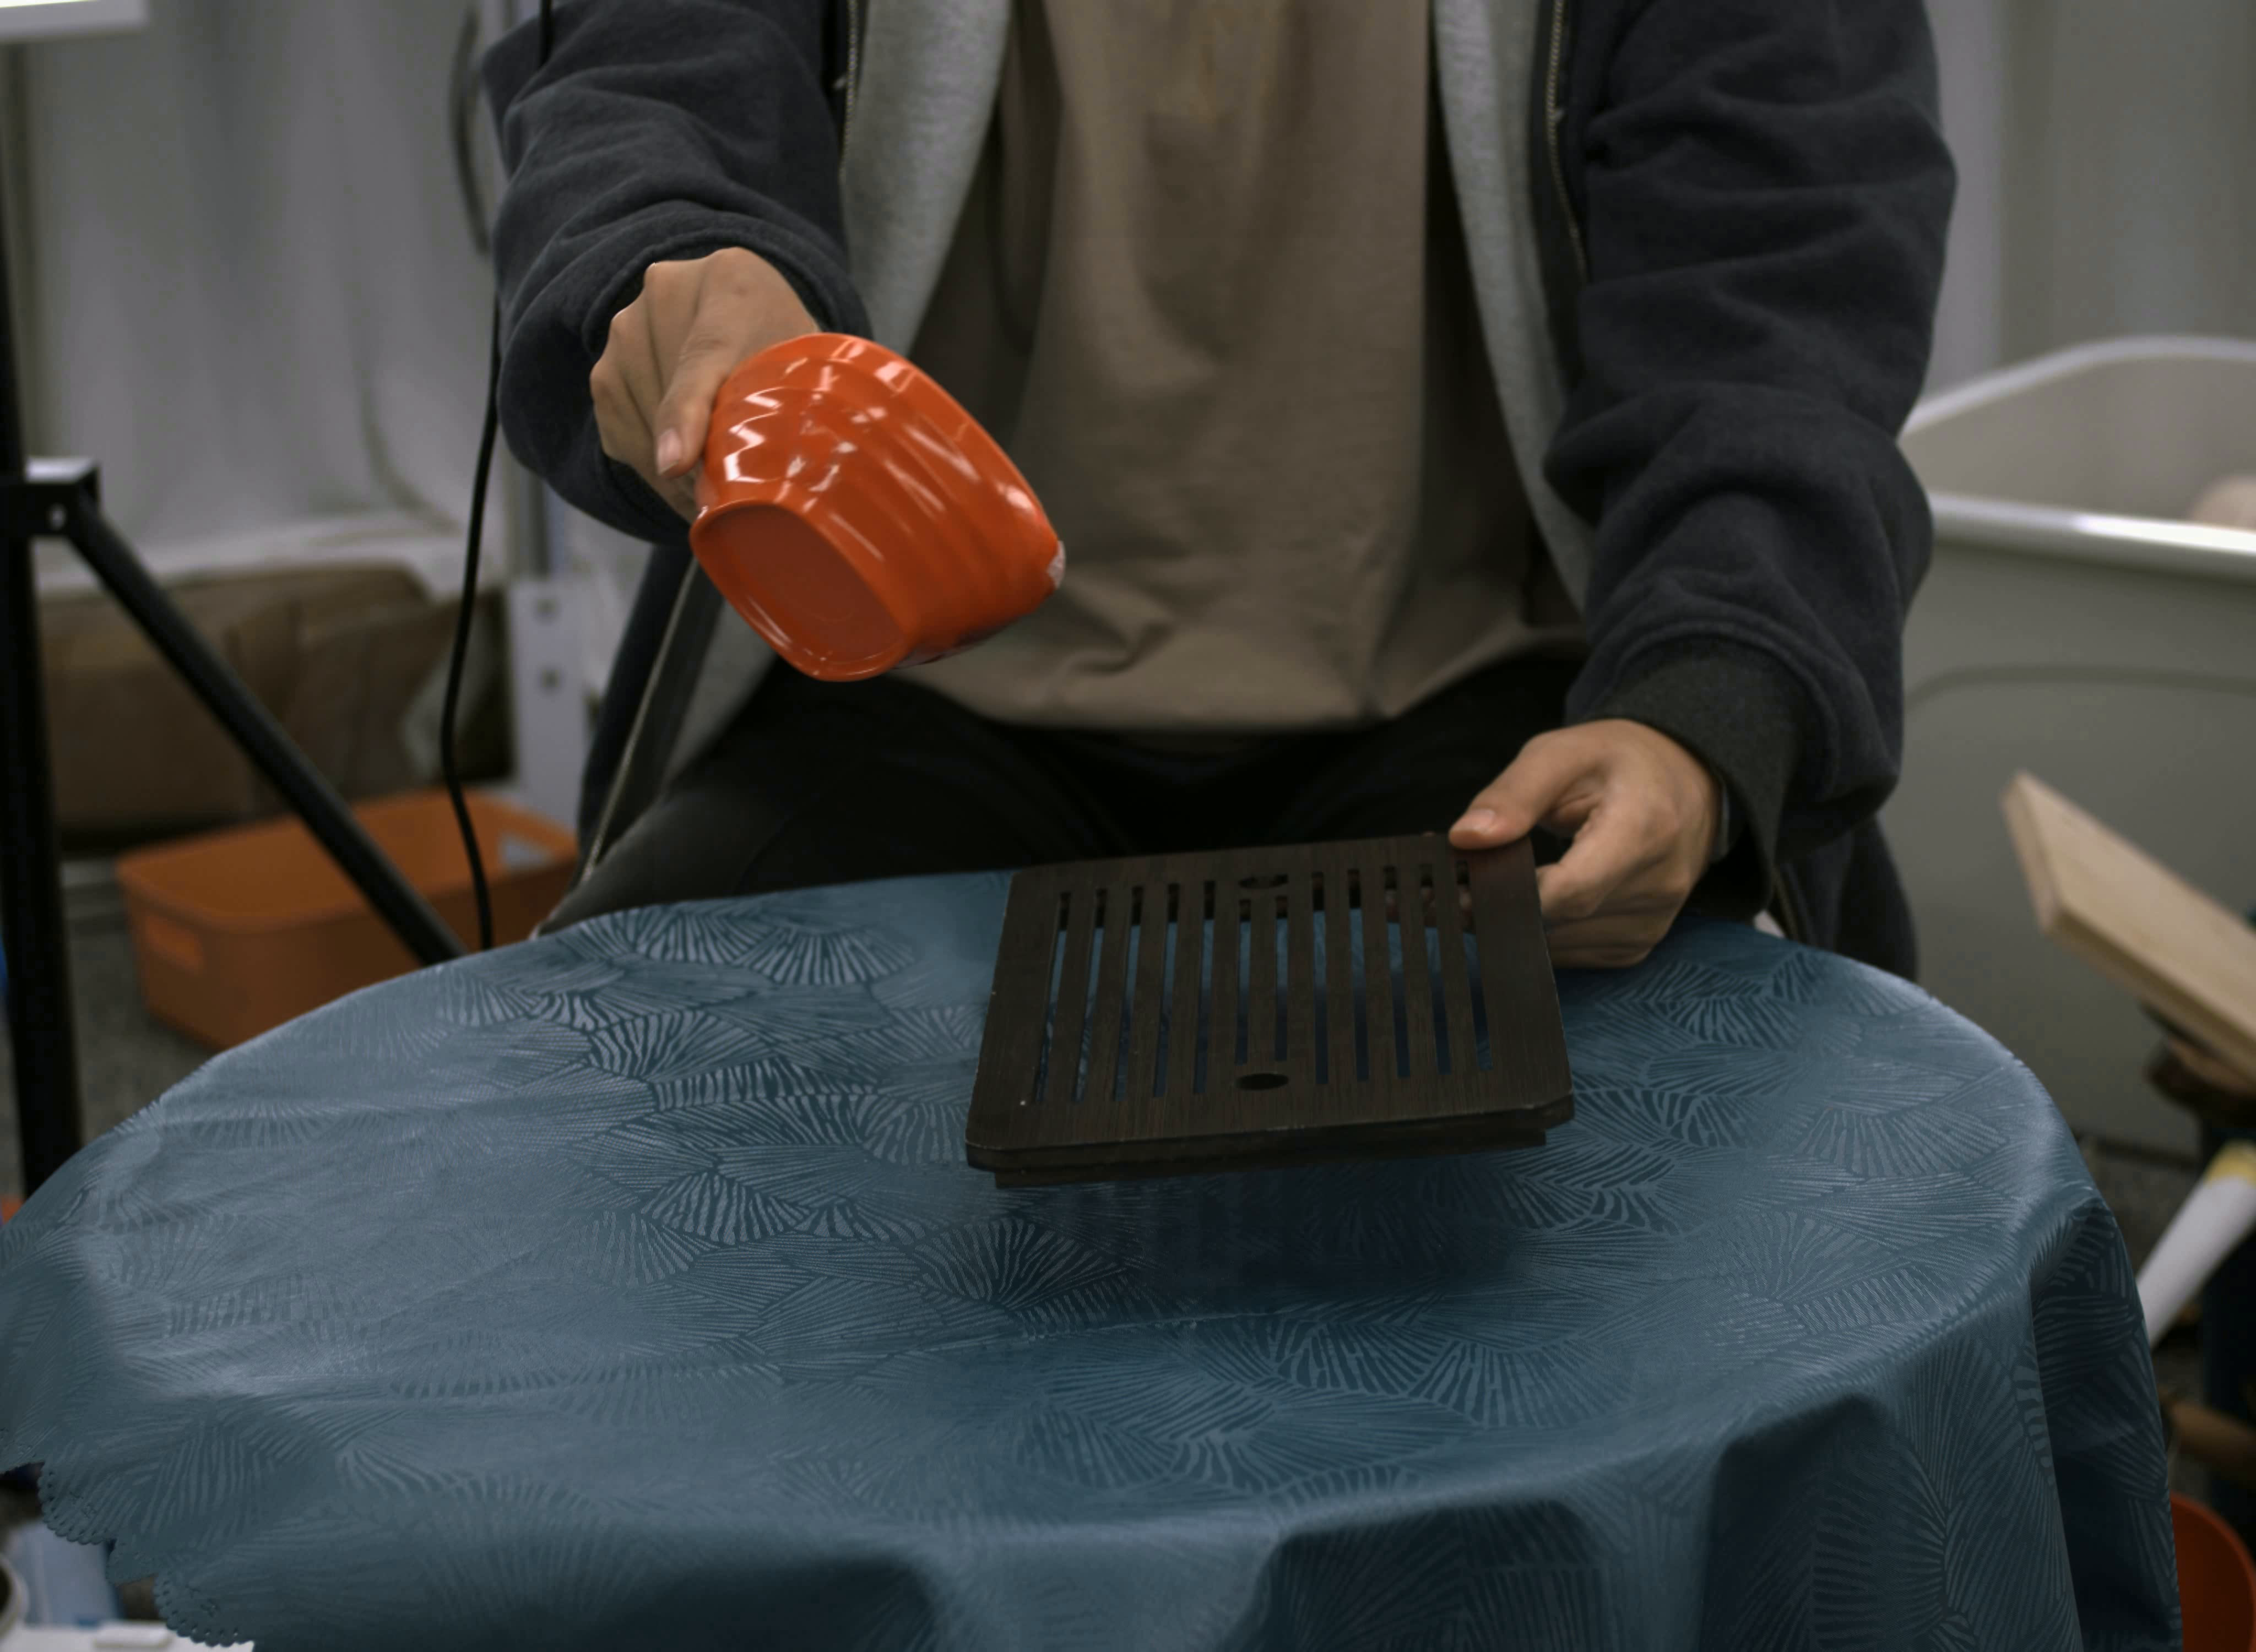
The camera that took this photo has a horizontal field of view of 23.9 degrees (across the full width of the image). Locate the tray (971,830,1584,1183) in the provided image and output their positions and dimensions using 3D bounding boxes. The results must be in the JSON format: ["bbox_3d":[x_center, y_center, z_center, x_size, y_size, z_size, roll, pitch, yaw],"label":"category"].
[{"bbox_3d":[0.044,0.052,1.593,0.170,0.018,0.306,-5,14,3],"label":"tray"}]

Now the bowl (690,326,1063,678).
[{"bbox_3d":[-0.082,-0.085,1.539,0.121,0.117,0.051,12,53,40],"label":"bowl"}]
